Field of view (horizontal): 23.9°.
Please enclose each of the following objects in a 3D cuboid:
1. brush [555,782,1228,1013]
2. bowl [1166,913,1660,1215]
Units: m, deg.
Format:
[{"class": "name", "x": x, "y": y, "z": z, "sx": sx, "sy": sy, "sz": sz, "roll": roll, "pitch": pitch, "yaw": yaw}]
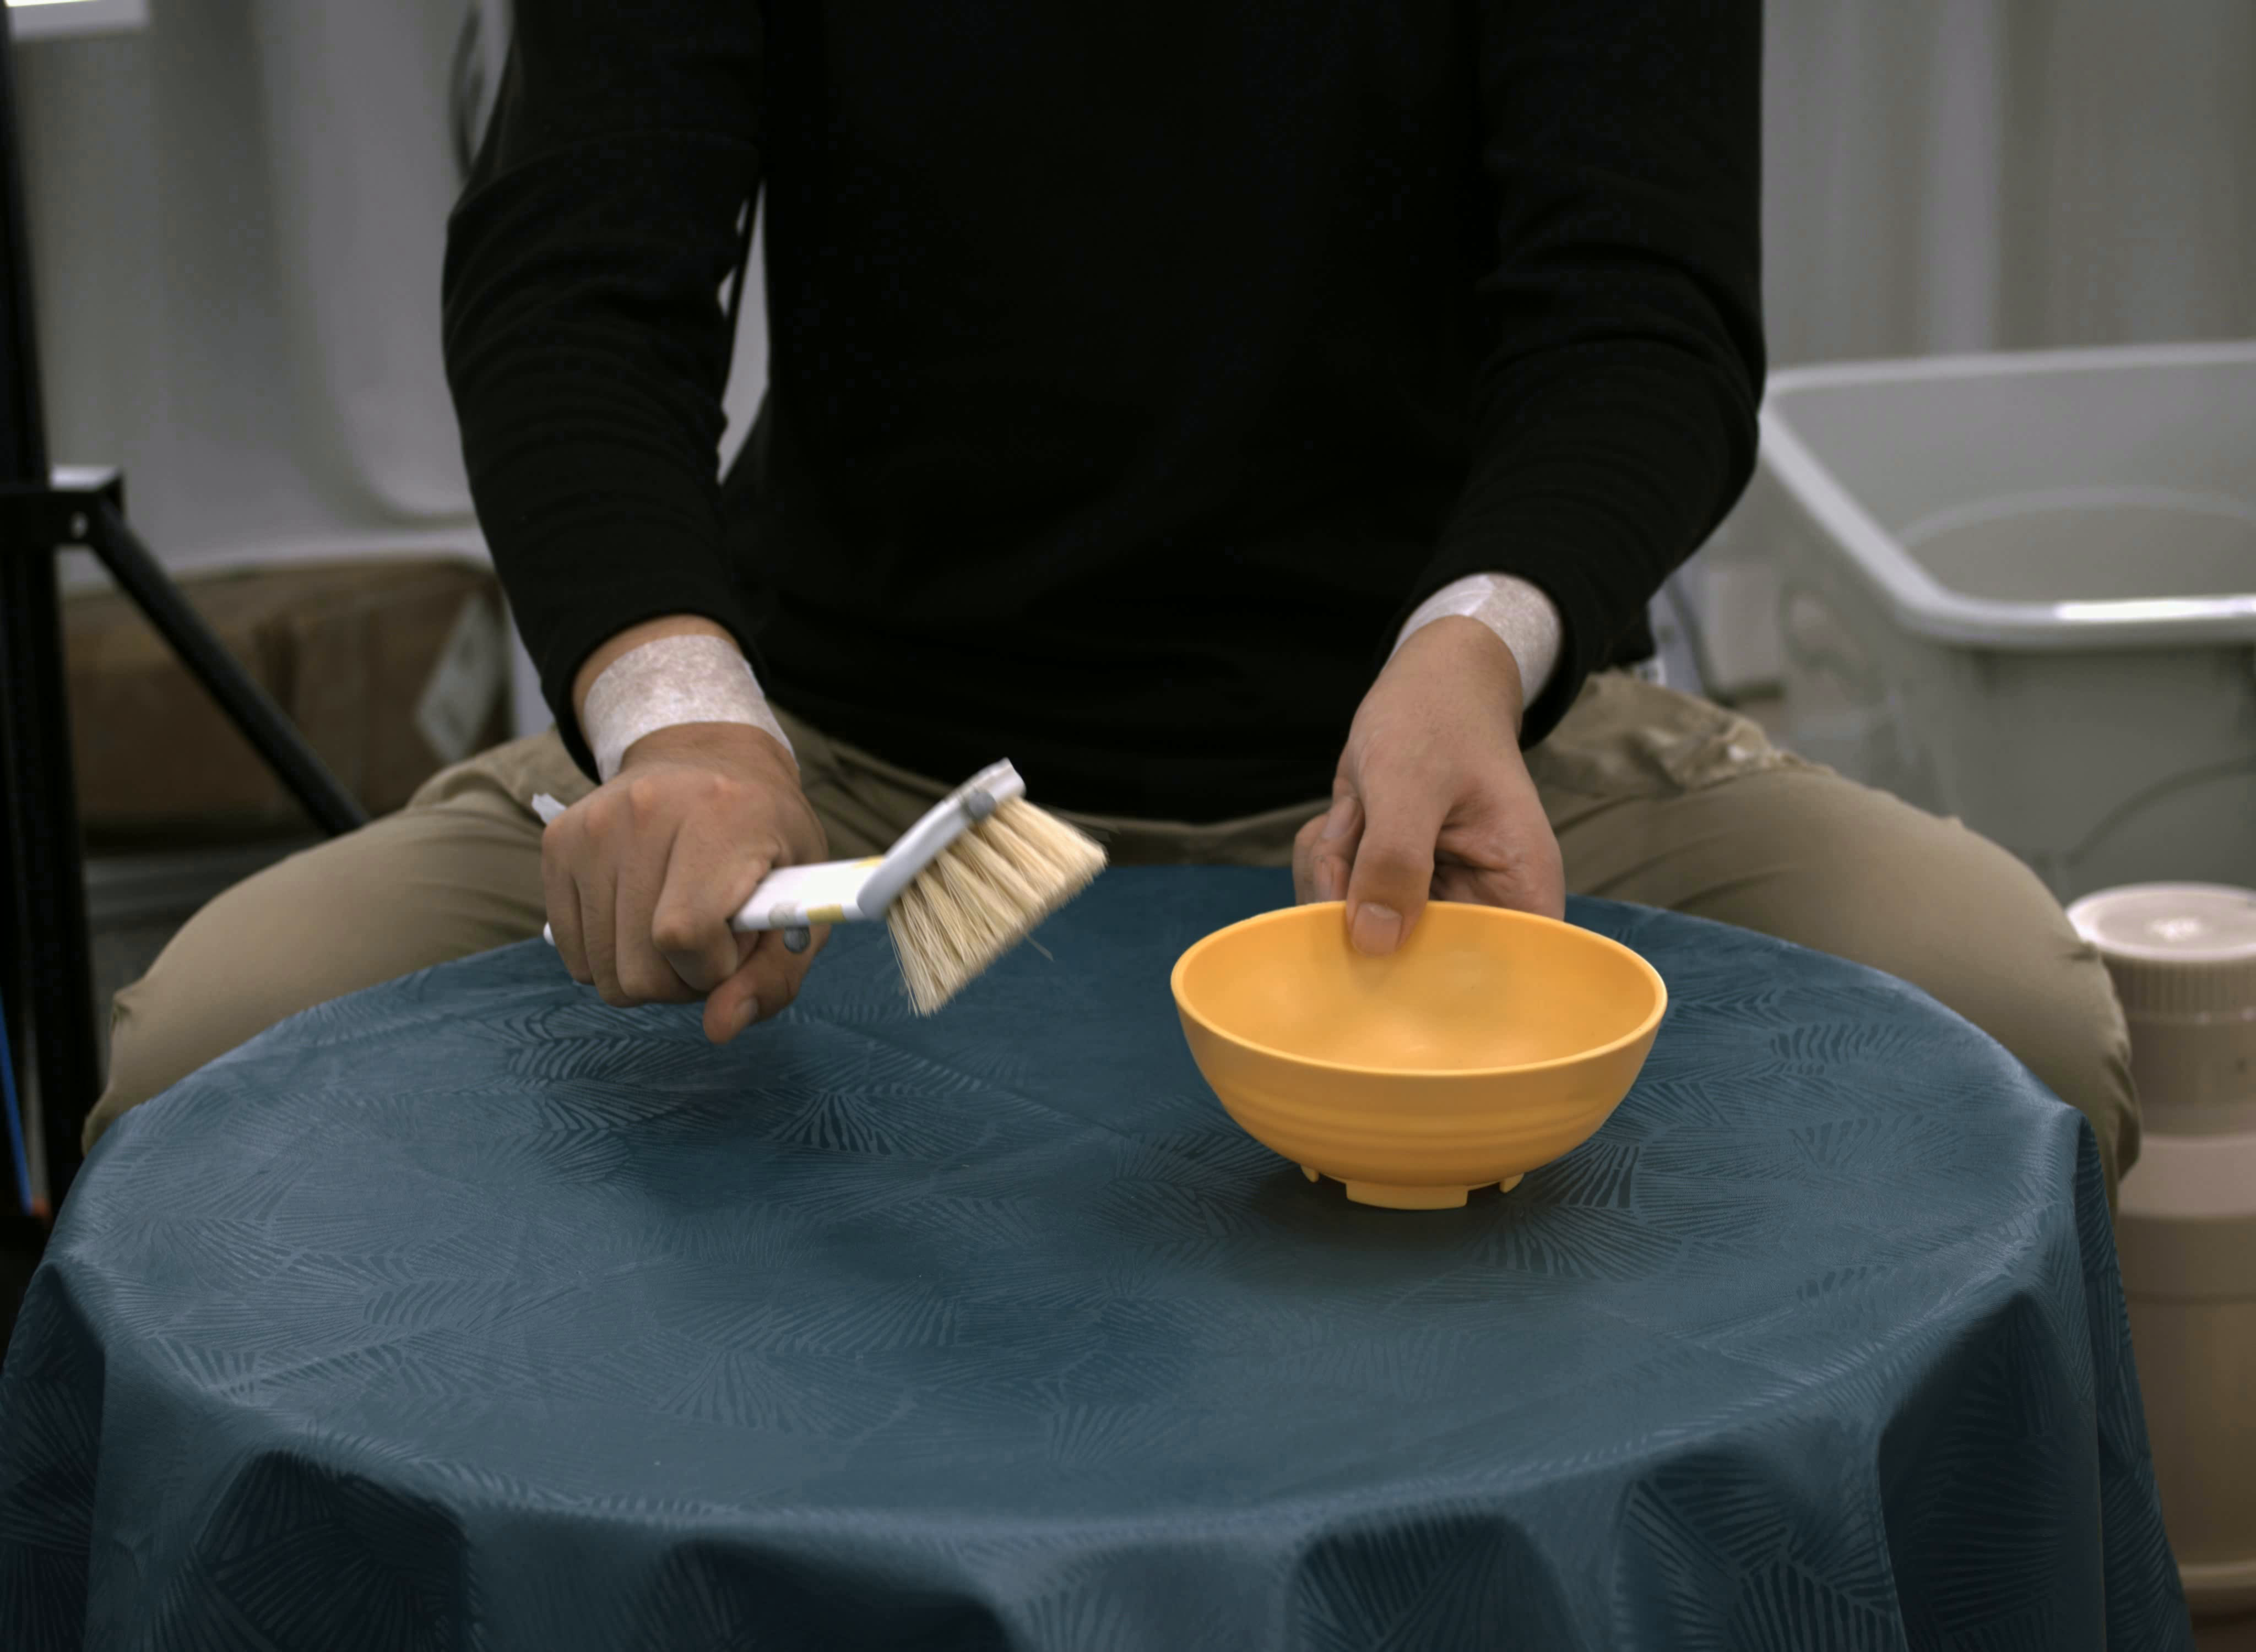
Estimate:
[{"class": "brush", "x": -0.076, "y": 0.029, "z": 1.611, "sx": 0.272, "sy": 0.056, "sz": 0.067, "roll": -8, "pitch": 14, "yaw": 46}, {"class": "bowl", "x": 0.082, "y": 0.075, "z": 1.549, "sx": 0.144, "sy": 0.060, "sz": 0.146, "roll": 1, "pitch": 17, "yaw": -2}]
